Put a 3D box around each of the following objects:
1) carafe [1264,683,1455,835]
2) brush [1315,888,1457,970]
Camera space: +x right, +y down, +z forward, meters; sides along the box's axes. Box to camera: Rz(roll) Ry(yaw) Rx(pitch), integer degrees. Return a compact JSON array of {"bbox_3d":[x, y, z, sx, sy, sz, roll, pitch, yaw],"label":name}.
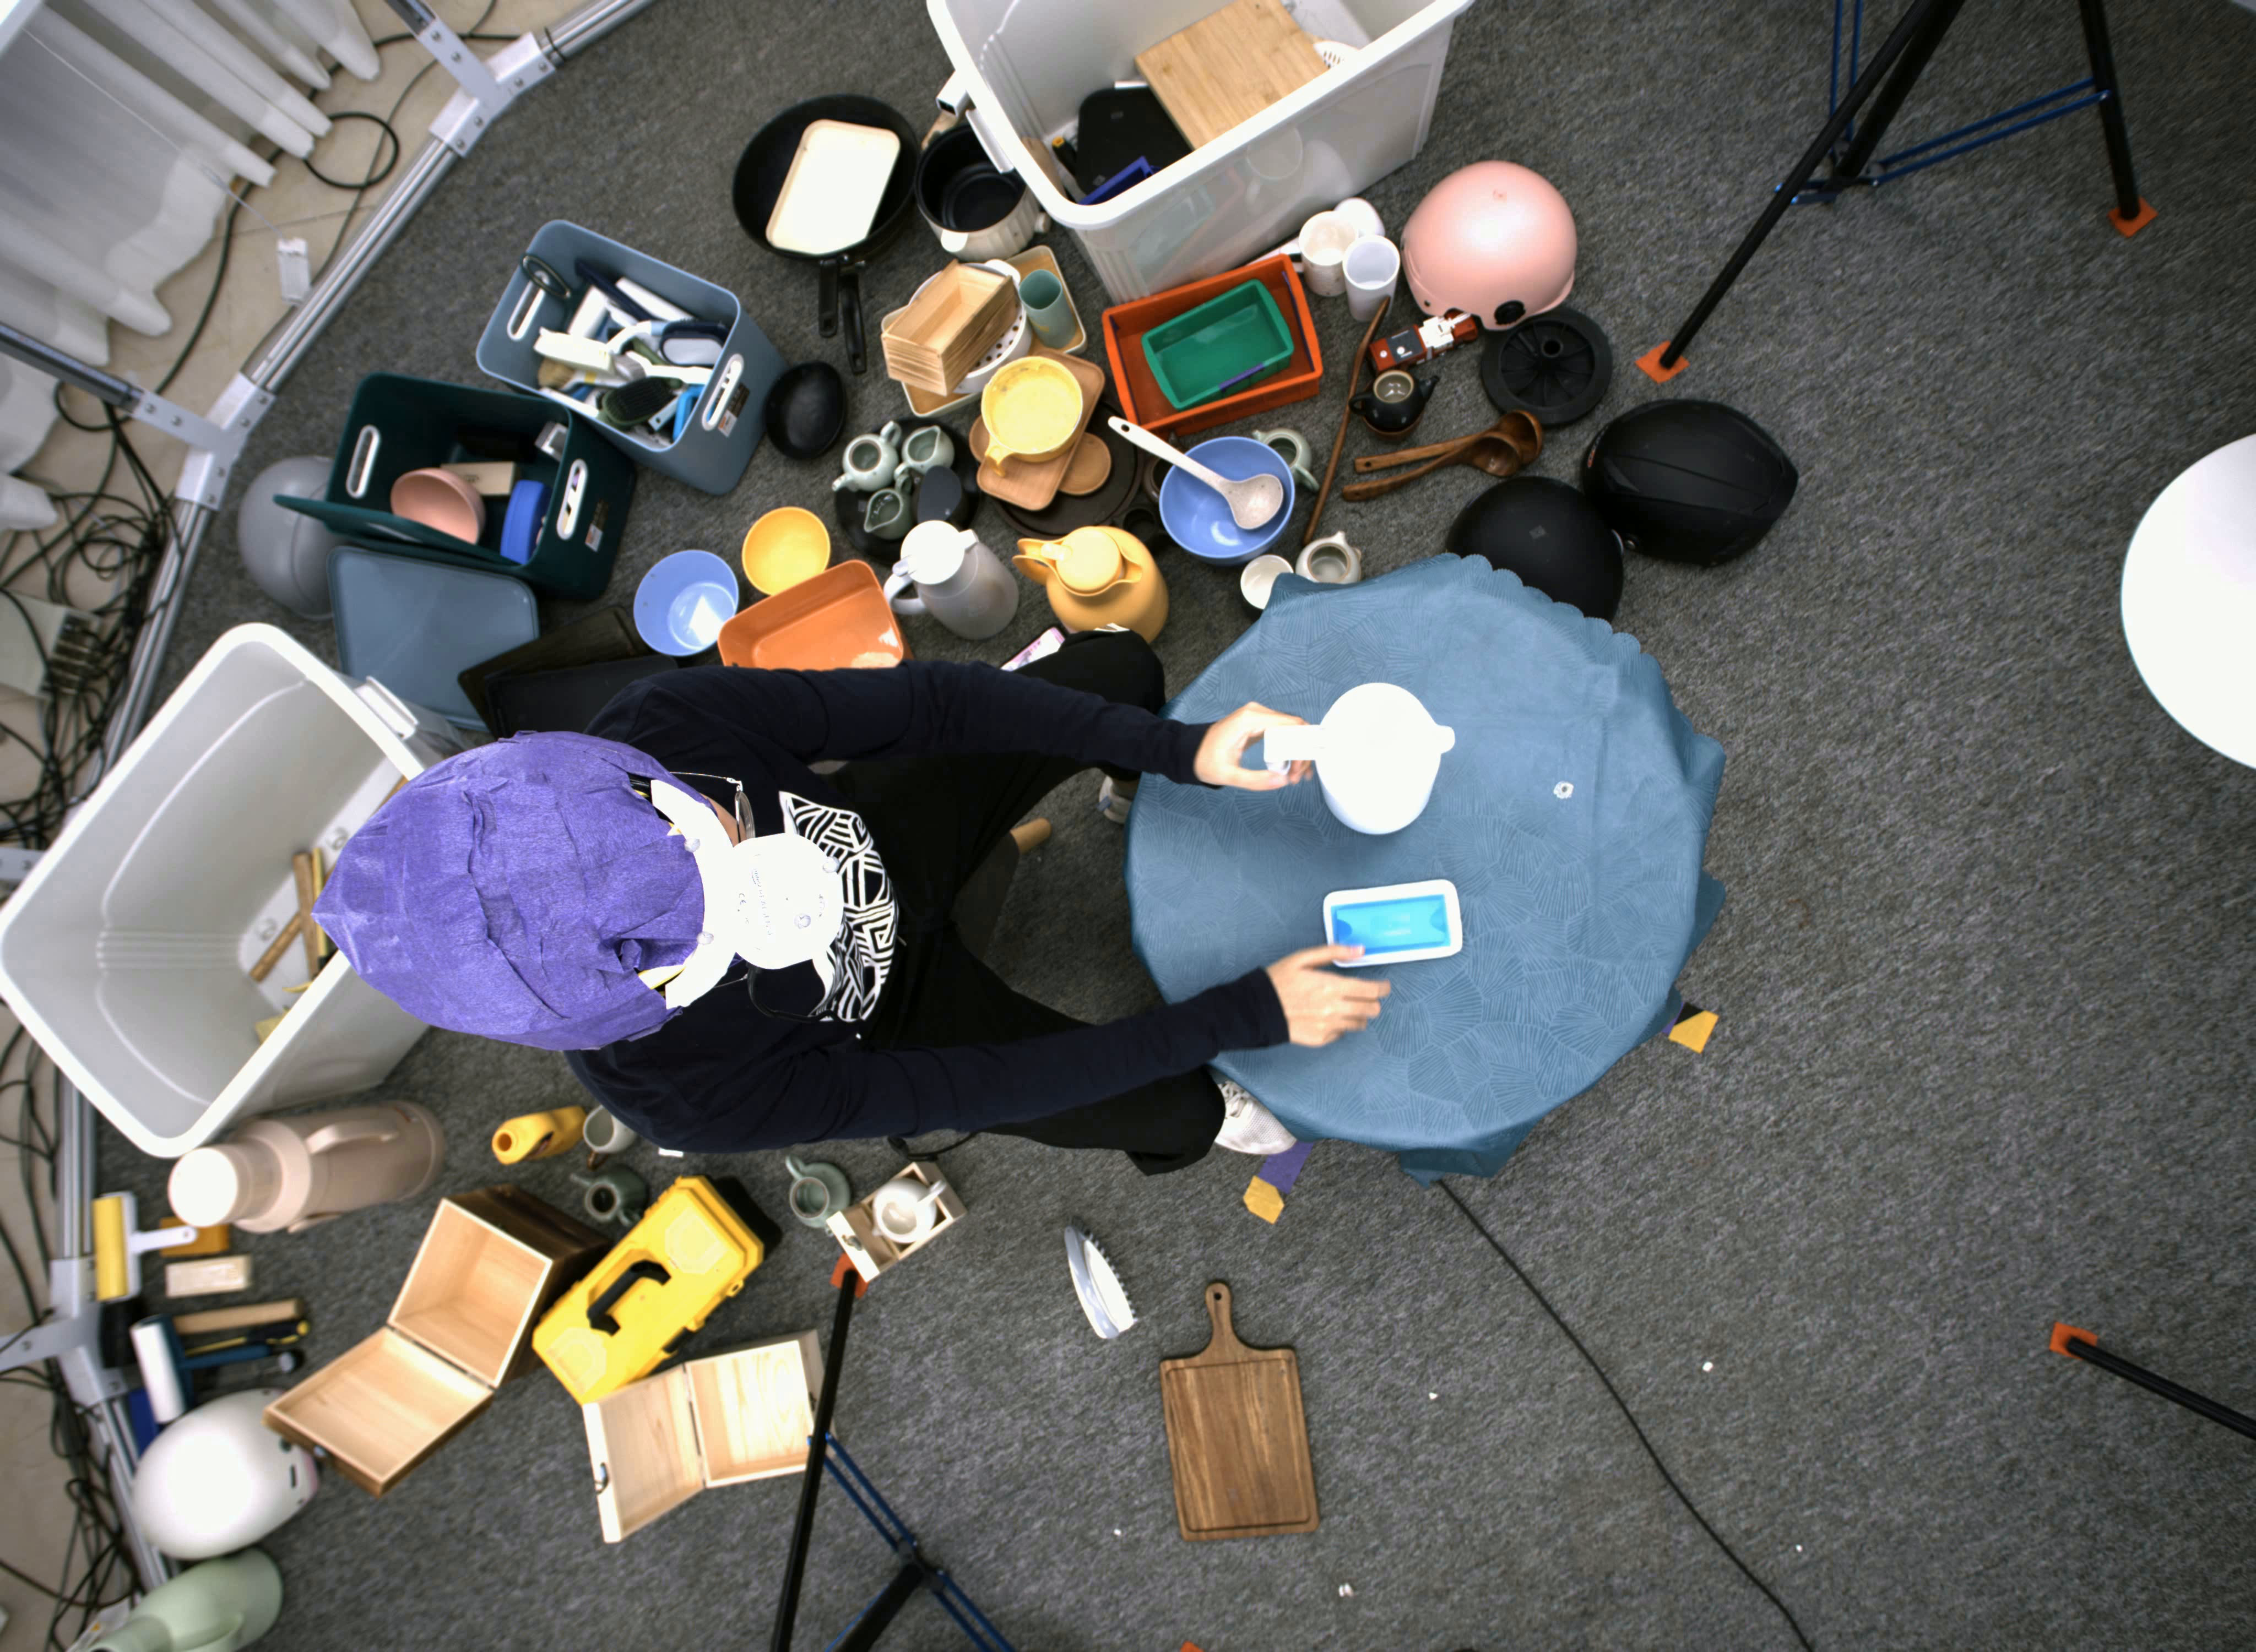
[{"bbox_3d":[0.225,-0.062,1.339,0.173,0.269,0.123,-2,86,11],"label":"carafe"},{"bbox_3d":[0.266,0.102,1.426,0.144,0.056,0.083,-5,83,7],"label":"brush"}]
